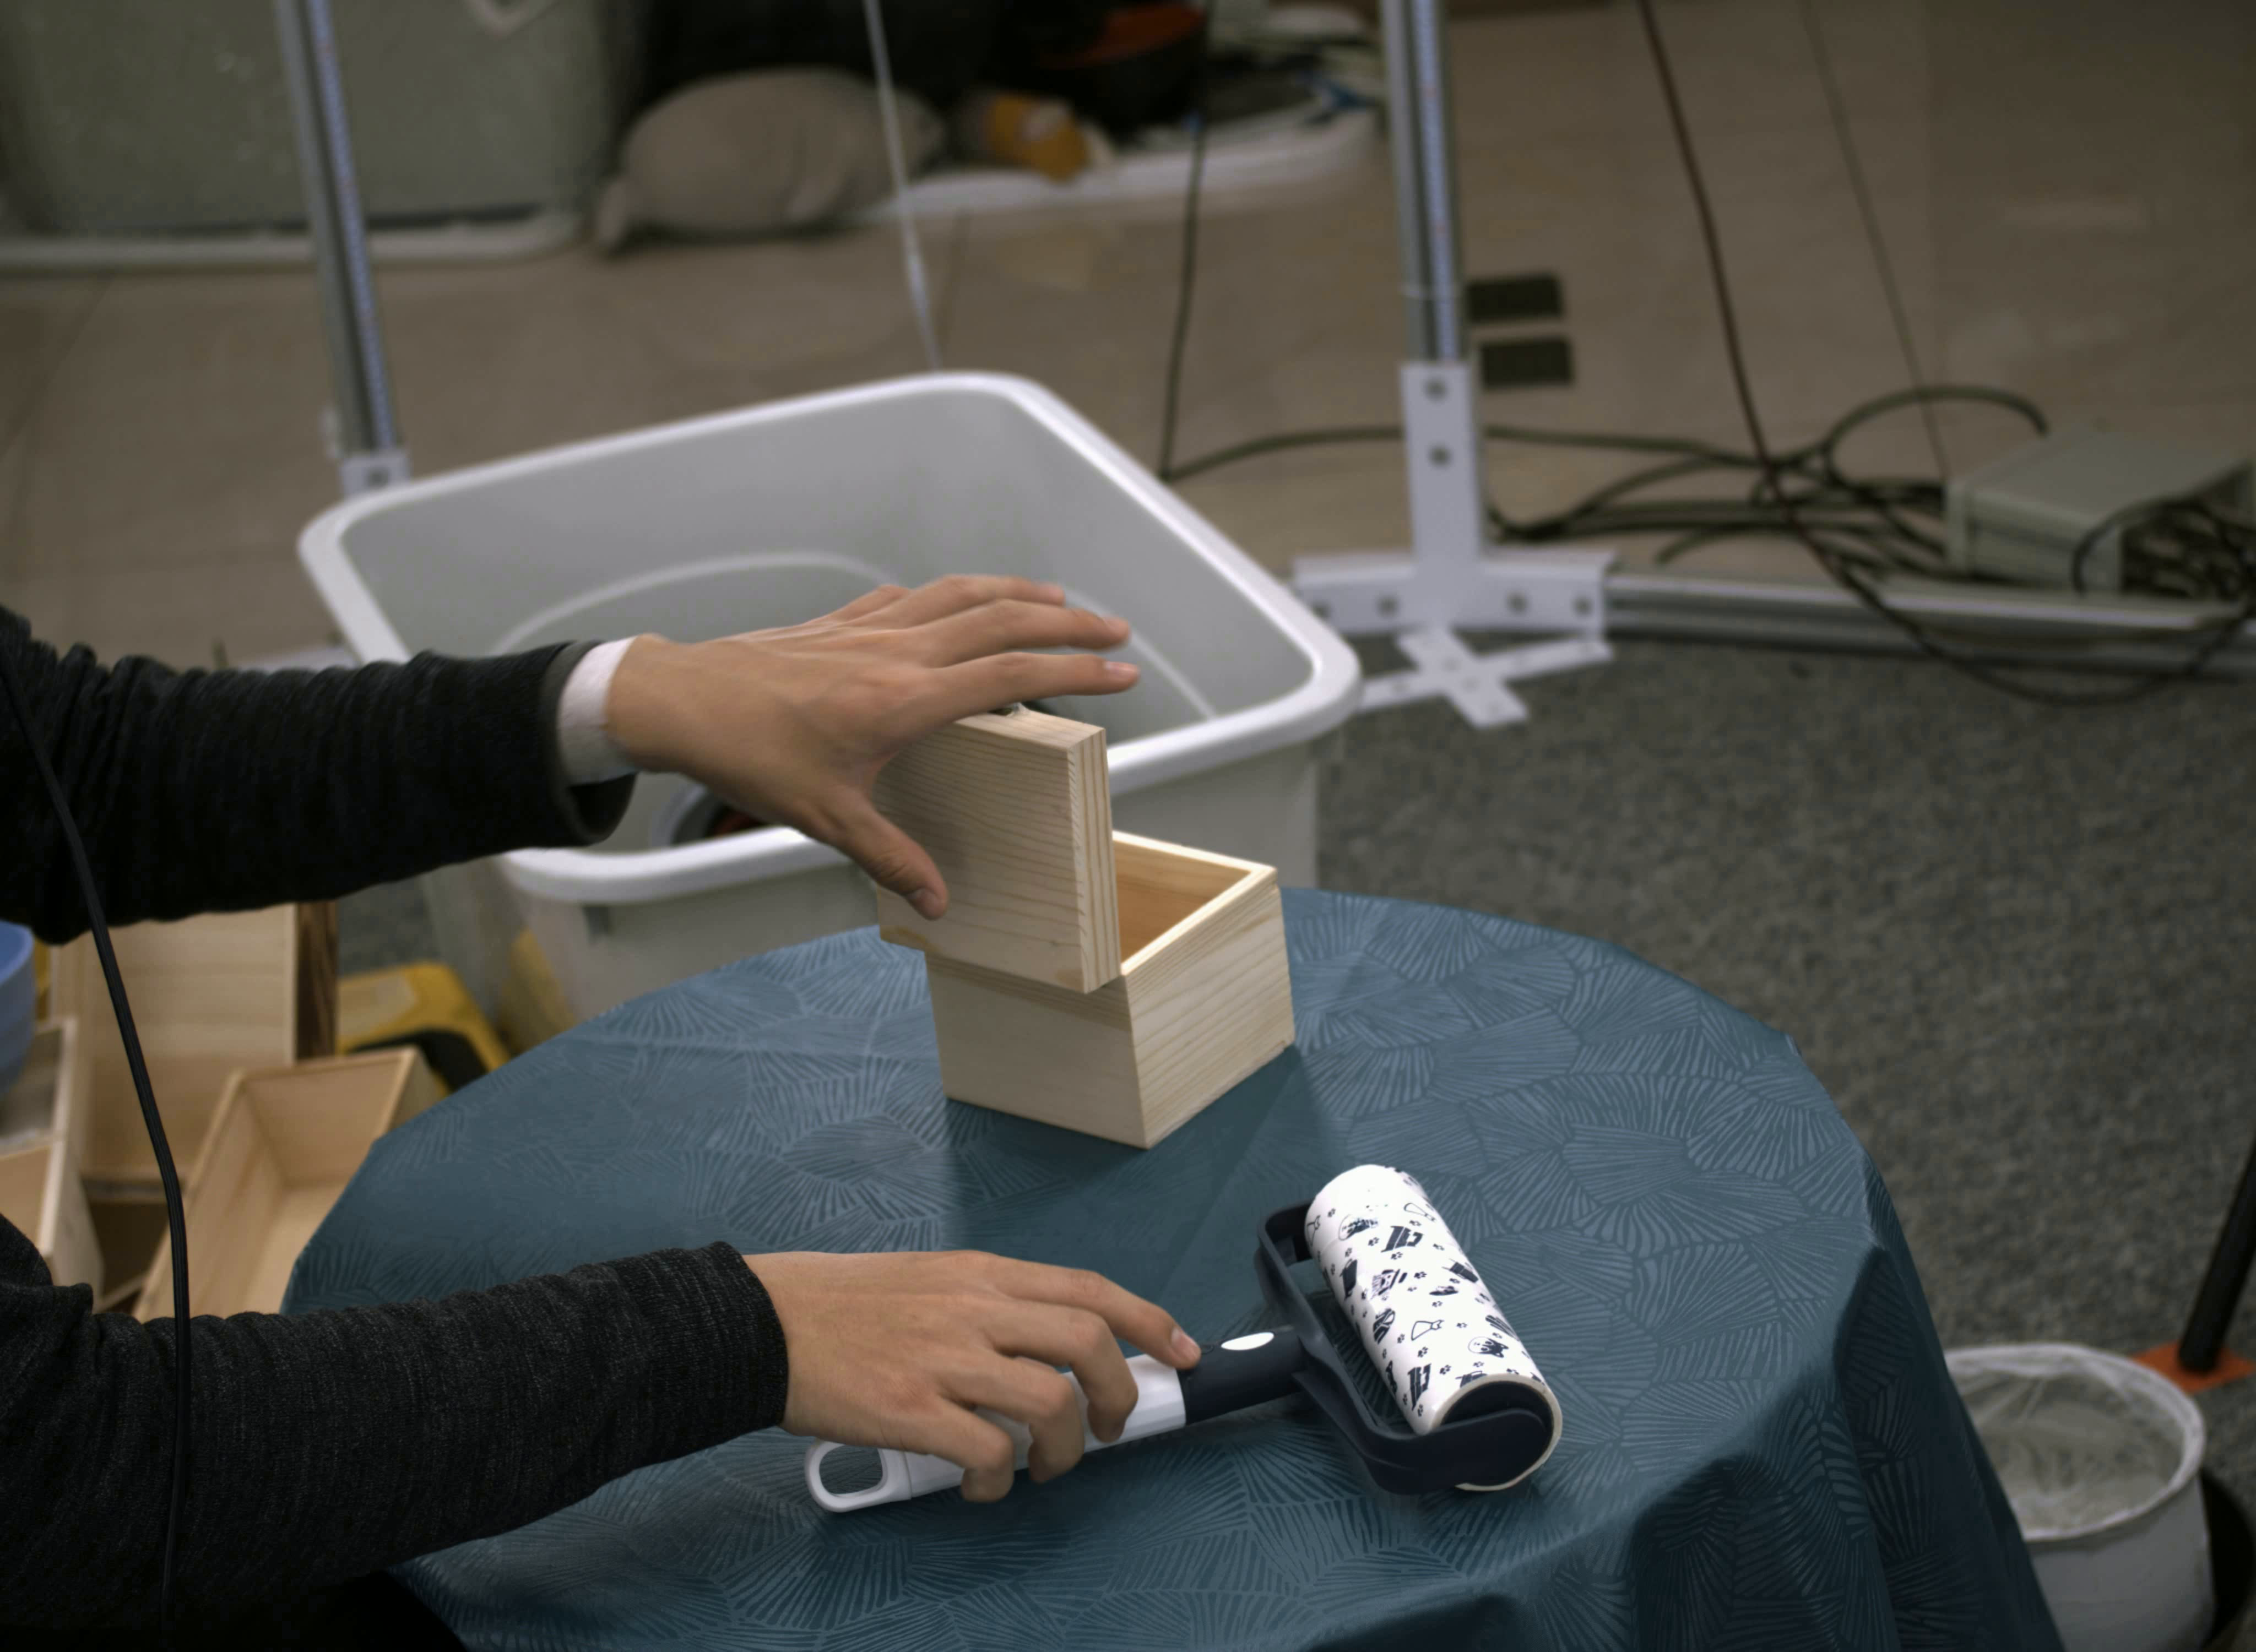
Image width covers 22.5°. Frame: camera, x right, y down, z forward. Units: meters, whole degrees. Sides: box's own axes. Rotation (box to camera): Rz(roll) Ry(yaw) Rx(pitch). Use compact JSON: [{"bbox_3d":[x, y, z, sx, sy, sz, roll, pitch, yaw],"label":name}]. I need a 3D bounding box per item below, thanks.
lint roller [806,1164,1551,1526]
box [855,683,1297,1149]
[{"bbox_3d":[0.008,0.196,1.972,0.246,0.051,0.174,-12,26,-10],"label":"lint roller"},{"bbox_3d":[-0.018,0.018,2.192,0.102,0.187,0.132,12,32,35],"label":"box"}]
